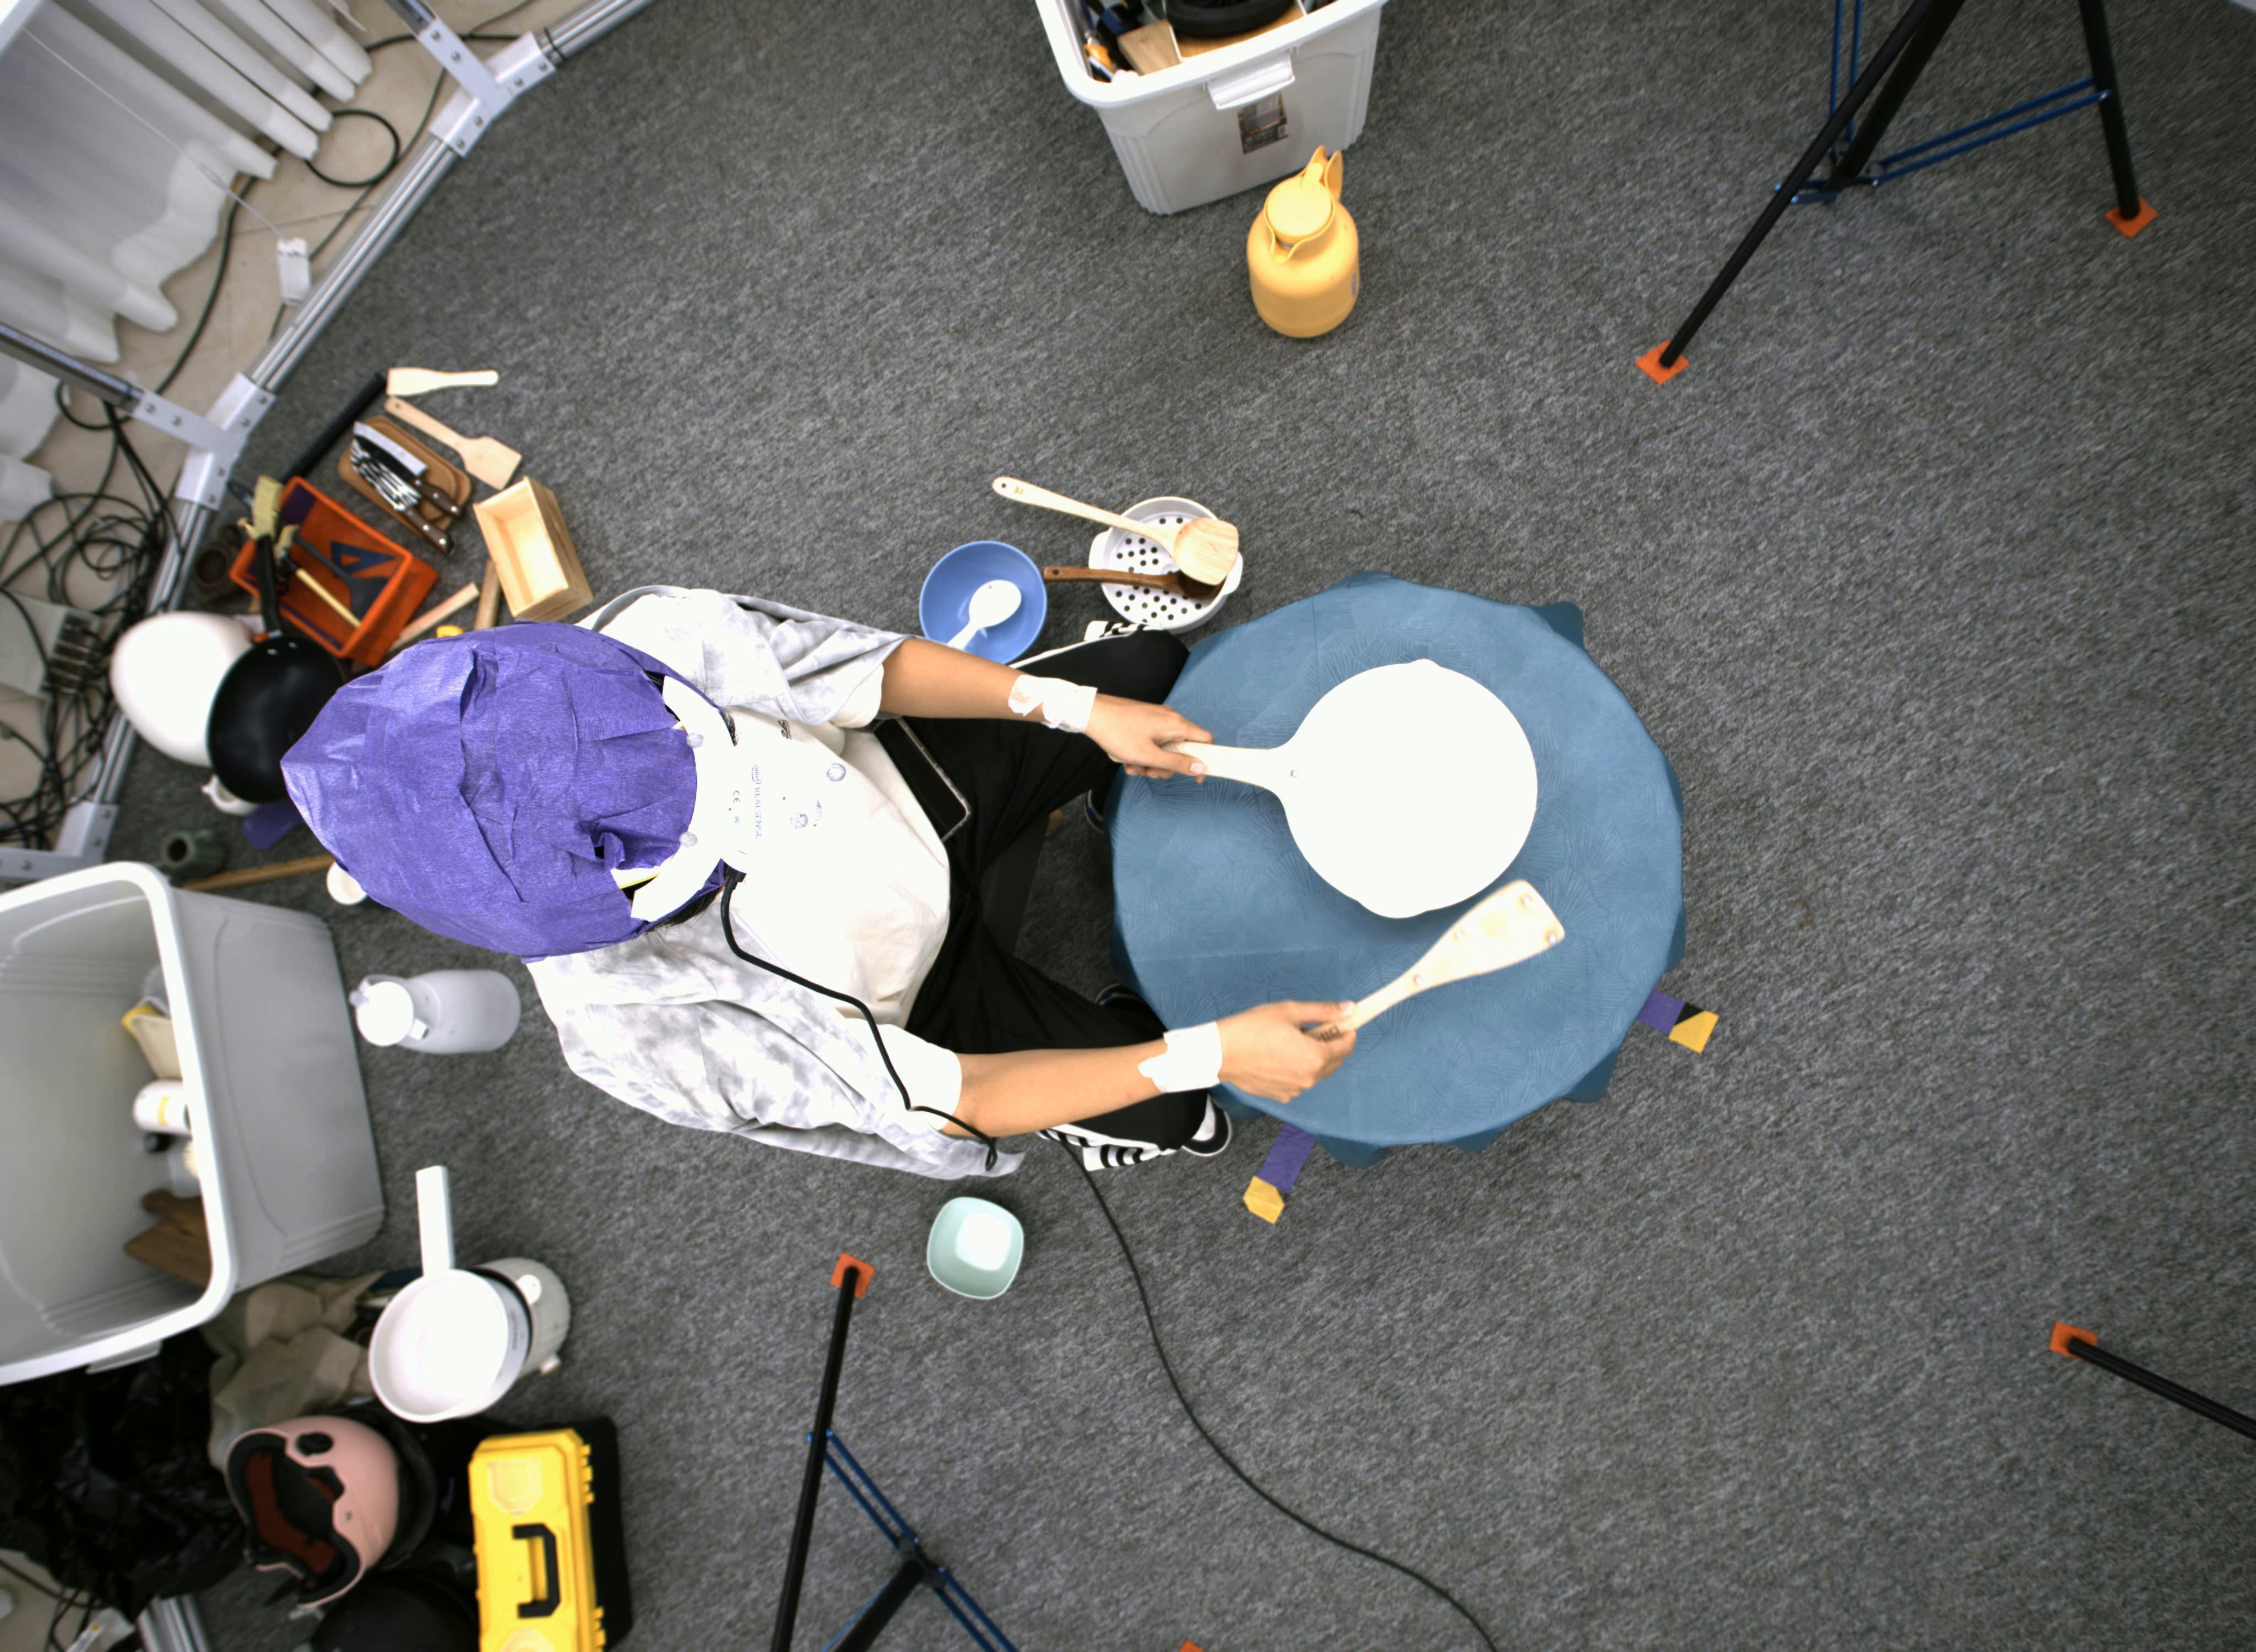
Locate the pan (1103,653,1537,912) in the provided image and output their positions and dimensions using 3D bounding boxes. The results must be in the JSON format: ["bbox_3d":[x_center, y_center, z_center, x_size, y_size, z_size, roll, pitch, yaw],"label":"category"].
[{"bbox_3d":[0.196,-0.055,1.428,0.436,0.102,0.263,7,89,11],"label":"pan"}]

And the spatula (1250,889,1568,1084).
[{"bbox_3d":[0.260,0.158,1.303,0.328,0.016,0.081,-30,118,3],"label":"spatula"}]
